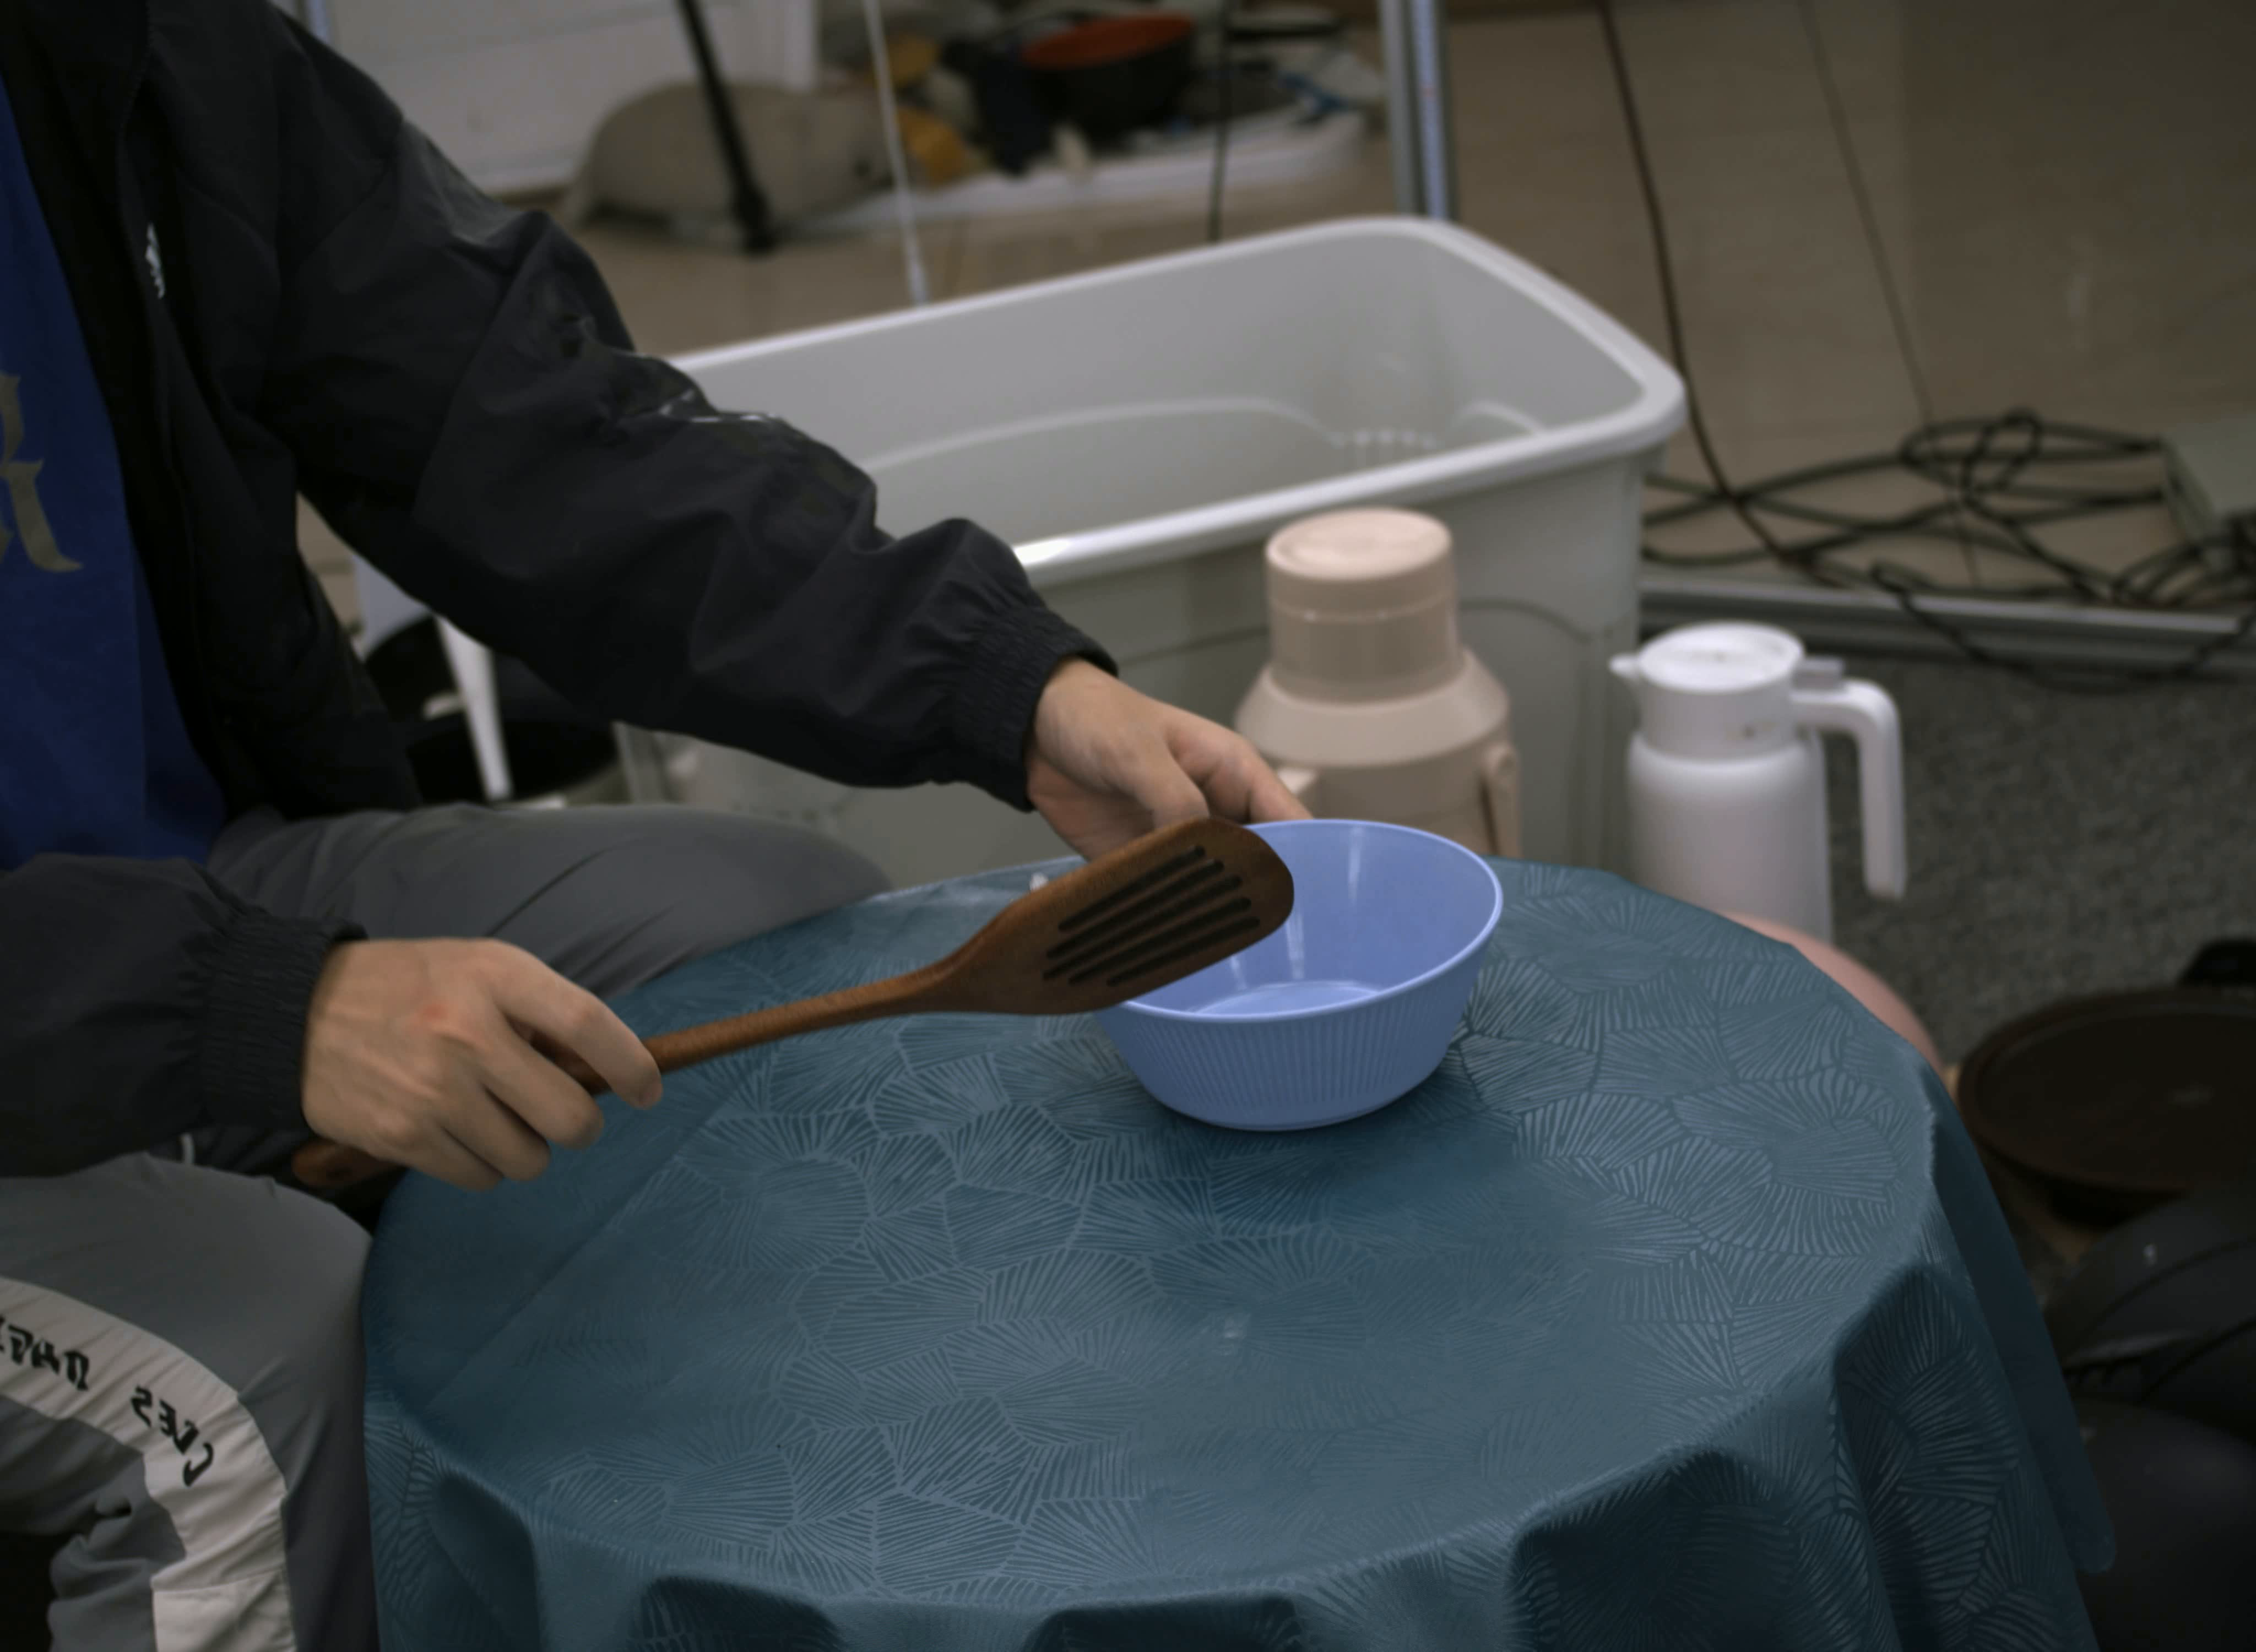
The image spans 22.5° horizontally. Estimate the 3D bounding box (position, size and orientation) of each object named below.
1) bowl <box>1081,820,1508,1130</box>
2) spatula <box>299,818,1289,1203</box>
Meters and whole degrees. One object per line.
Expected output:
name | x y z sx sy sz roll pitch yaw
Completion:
bowl | 0.064 0.064 2.208 0.176 0.071 0.173 -7 24 3
spatula | -0.126 0.075 2.007 0.387 0.087 0.023 -18 57 18
